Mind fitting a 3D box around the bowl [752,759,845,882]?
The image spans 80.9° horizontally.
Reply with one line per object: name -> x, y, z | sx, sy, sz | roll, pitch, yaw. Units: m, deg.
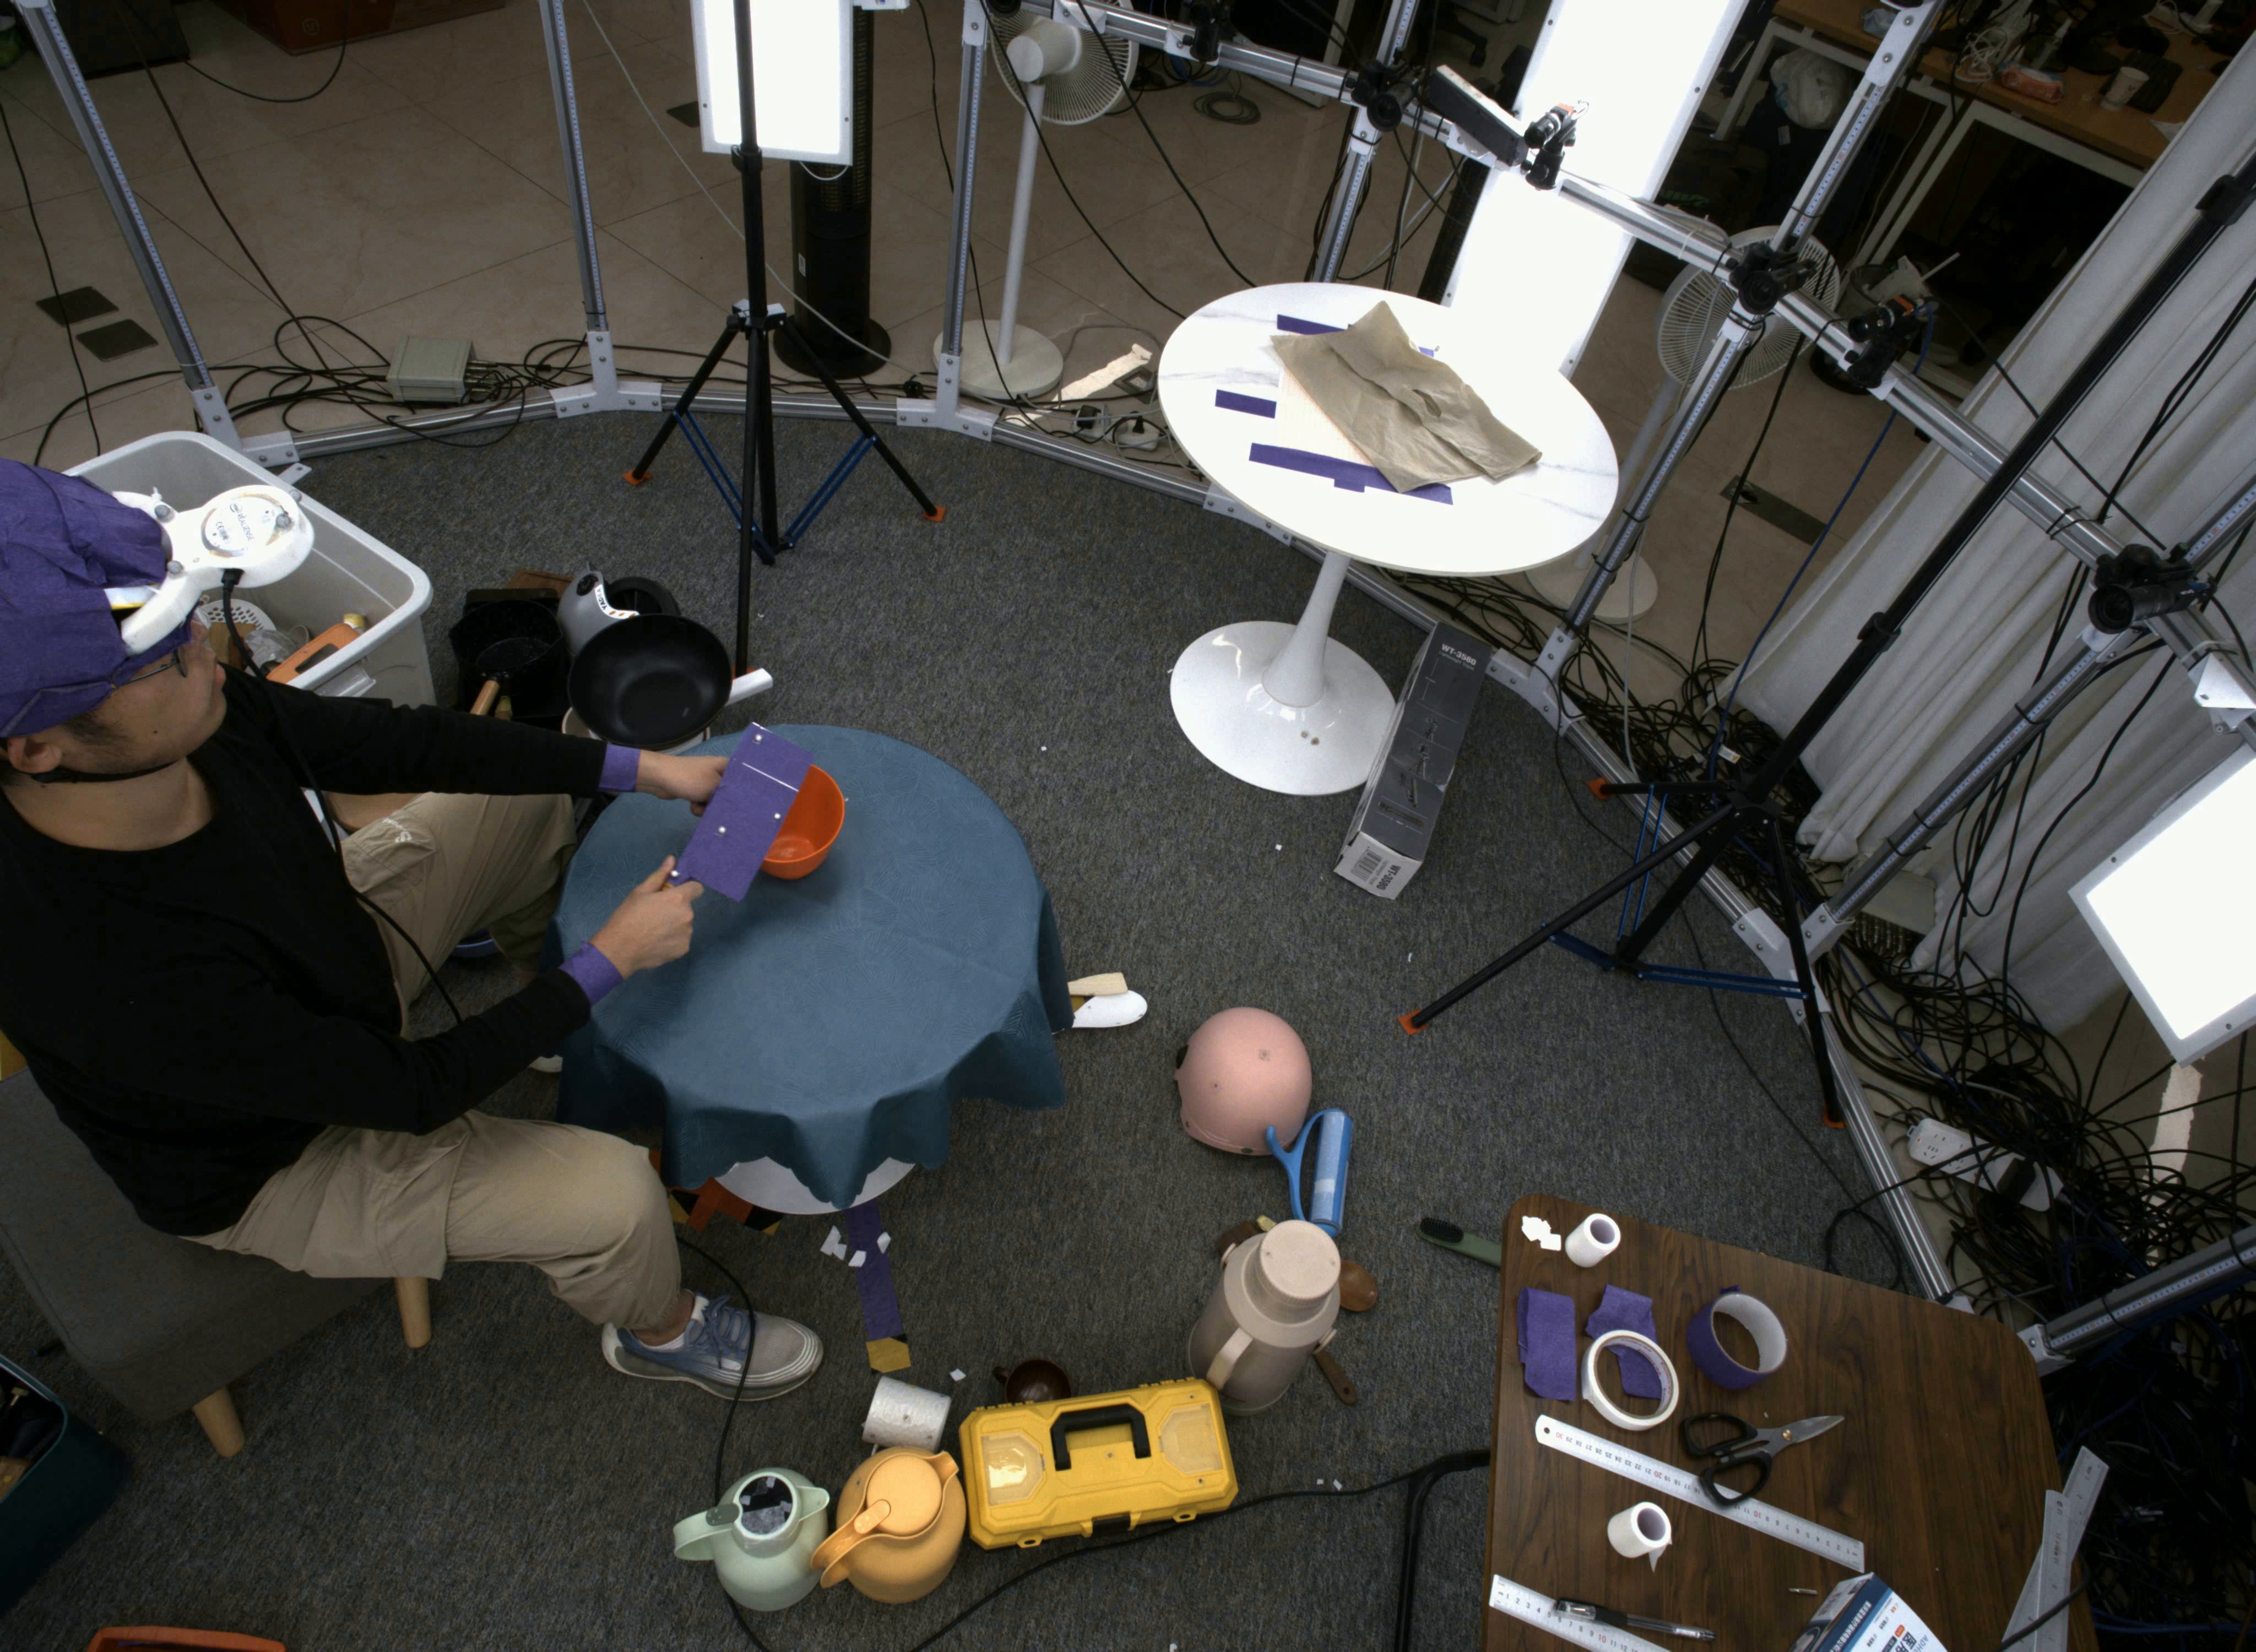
bowl -> -0.434, 0.003, 1.650 | 0.147, 0.107, 0.145 | 7, 51, -8

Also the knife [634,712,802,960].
knife -> -0.486, 0.022, 1.550 | 0.106, 0.031, 0.315 | 30, 74, -27
